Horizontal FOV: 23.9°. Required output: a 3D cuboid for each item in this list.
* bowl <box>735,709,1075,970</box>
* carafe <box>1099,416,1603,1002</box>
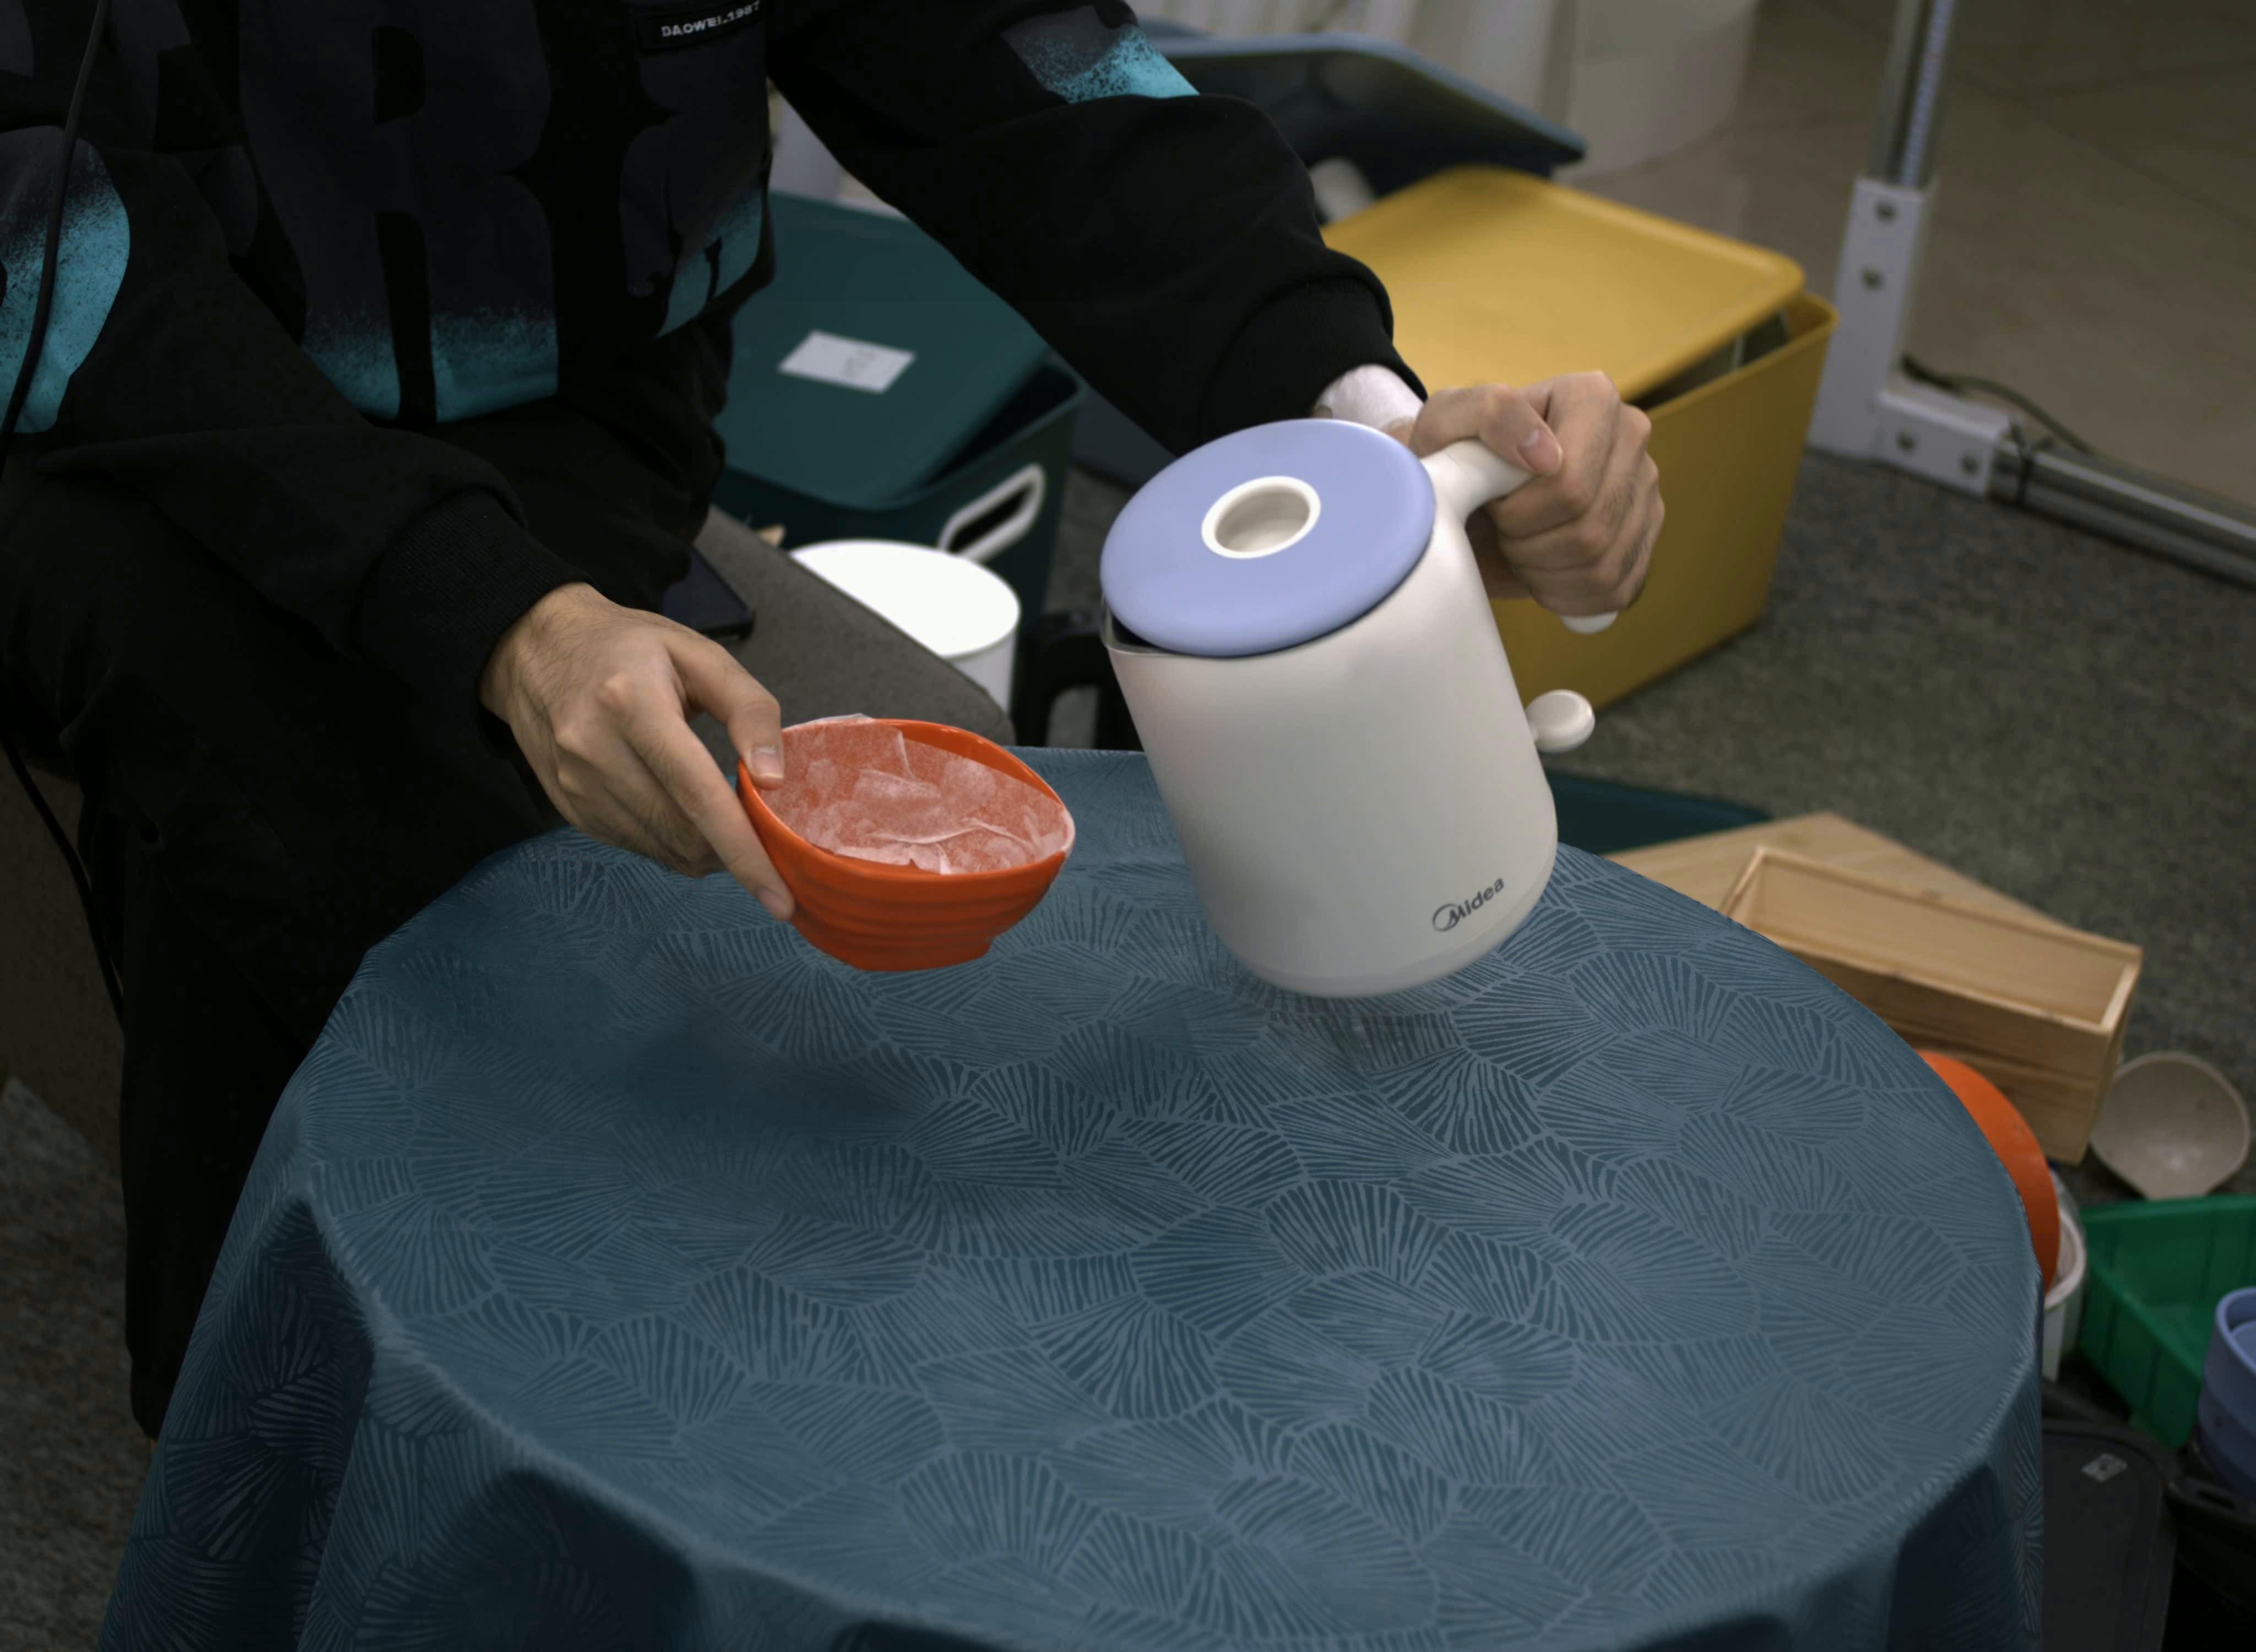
[{"bbox_3d":[-0.079,0.009,1.812,0.118,0.051,0.120,8,30,-5],"label":"bowl"},{"bbox_3d":[0.088,-0.053,1.867,0.190,0.181,0.133,-32,41,-18],"label":"carafe"}]
